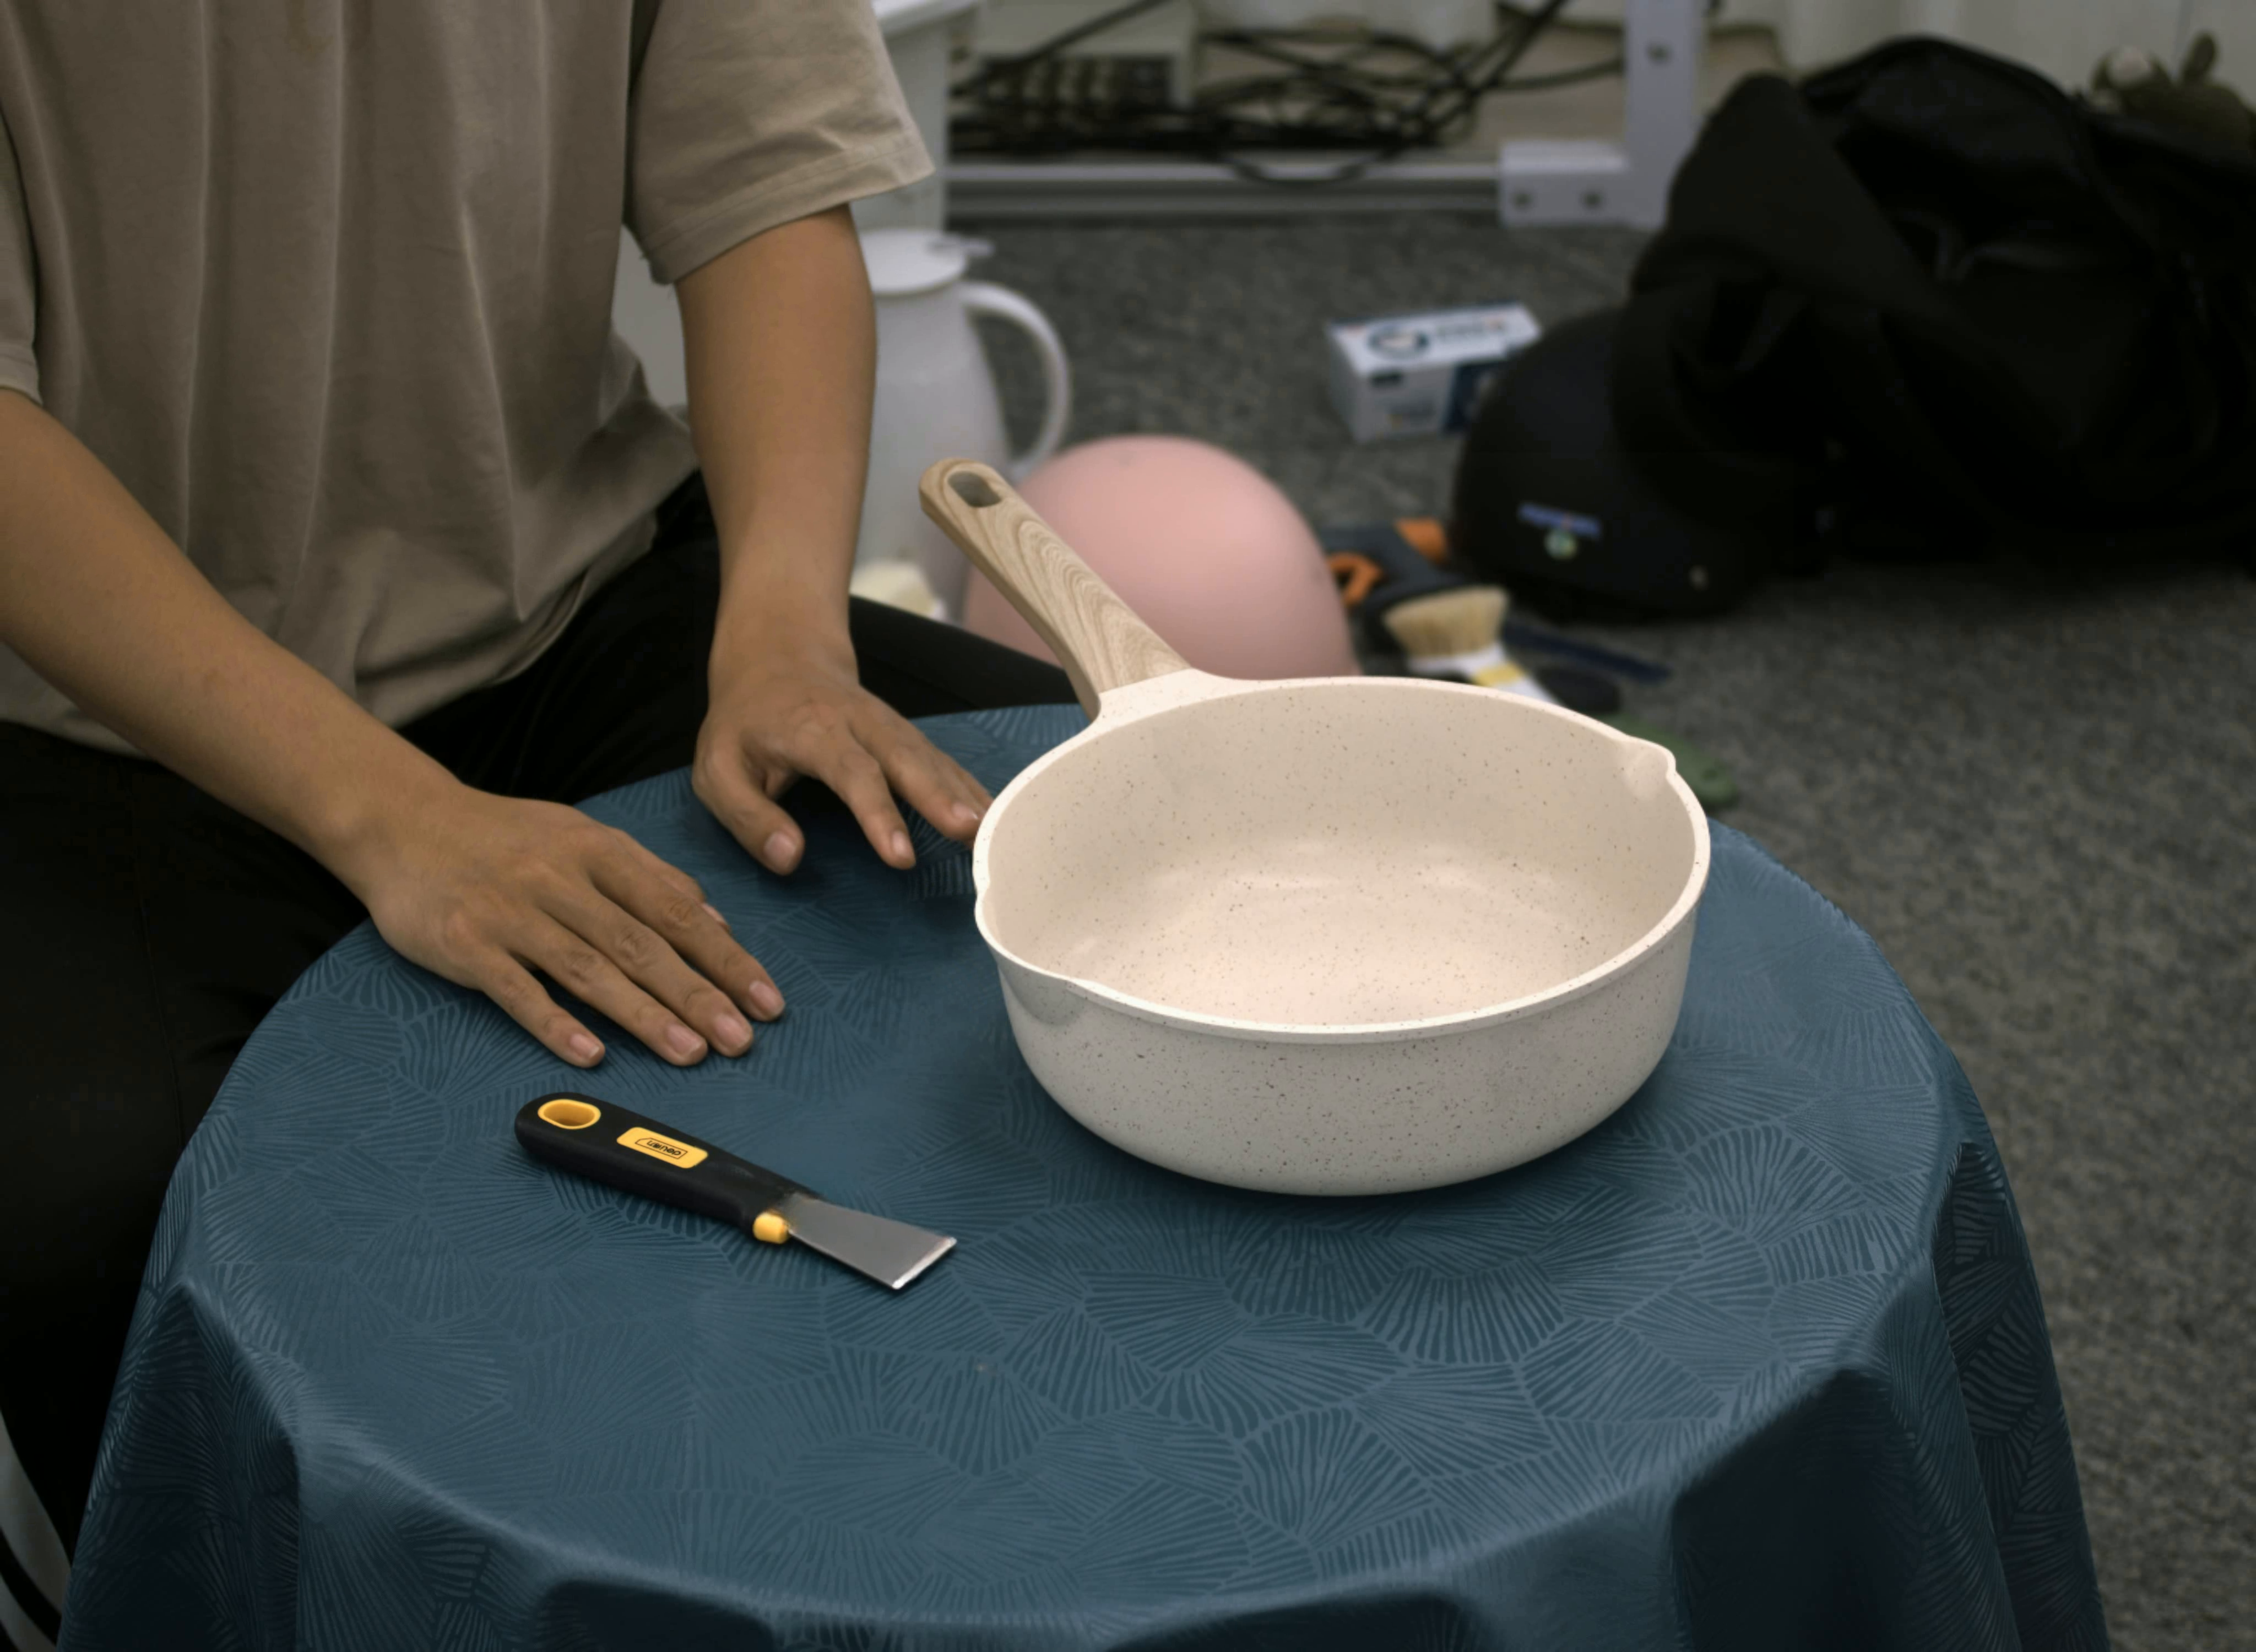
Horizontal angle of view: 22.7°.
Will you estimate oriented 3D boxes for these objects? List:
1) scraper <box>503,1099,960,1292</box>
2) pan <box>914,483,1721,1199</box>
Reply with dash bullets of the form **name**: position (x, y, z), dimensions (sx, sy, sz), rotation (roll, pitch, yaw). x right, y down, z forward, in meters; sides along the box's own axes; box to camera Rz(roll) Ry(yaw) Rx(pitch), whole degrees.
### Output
- **scraper**: position (-0.135, 0.122, 1.857), dimensions (0.170, 0.015, 0.039), rotation (16, 37, 27)
- **pan**: position (0.035, -0.001, 1.996), dimensions (0.265, 0.101, 0.437), rotation (-18, 31, -22)
